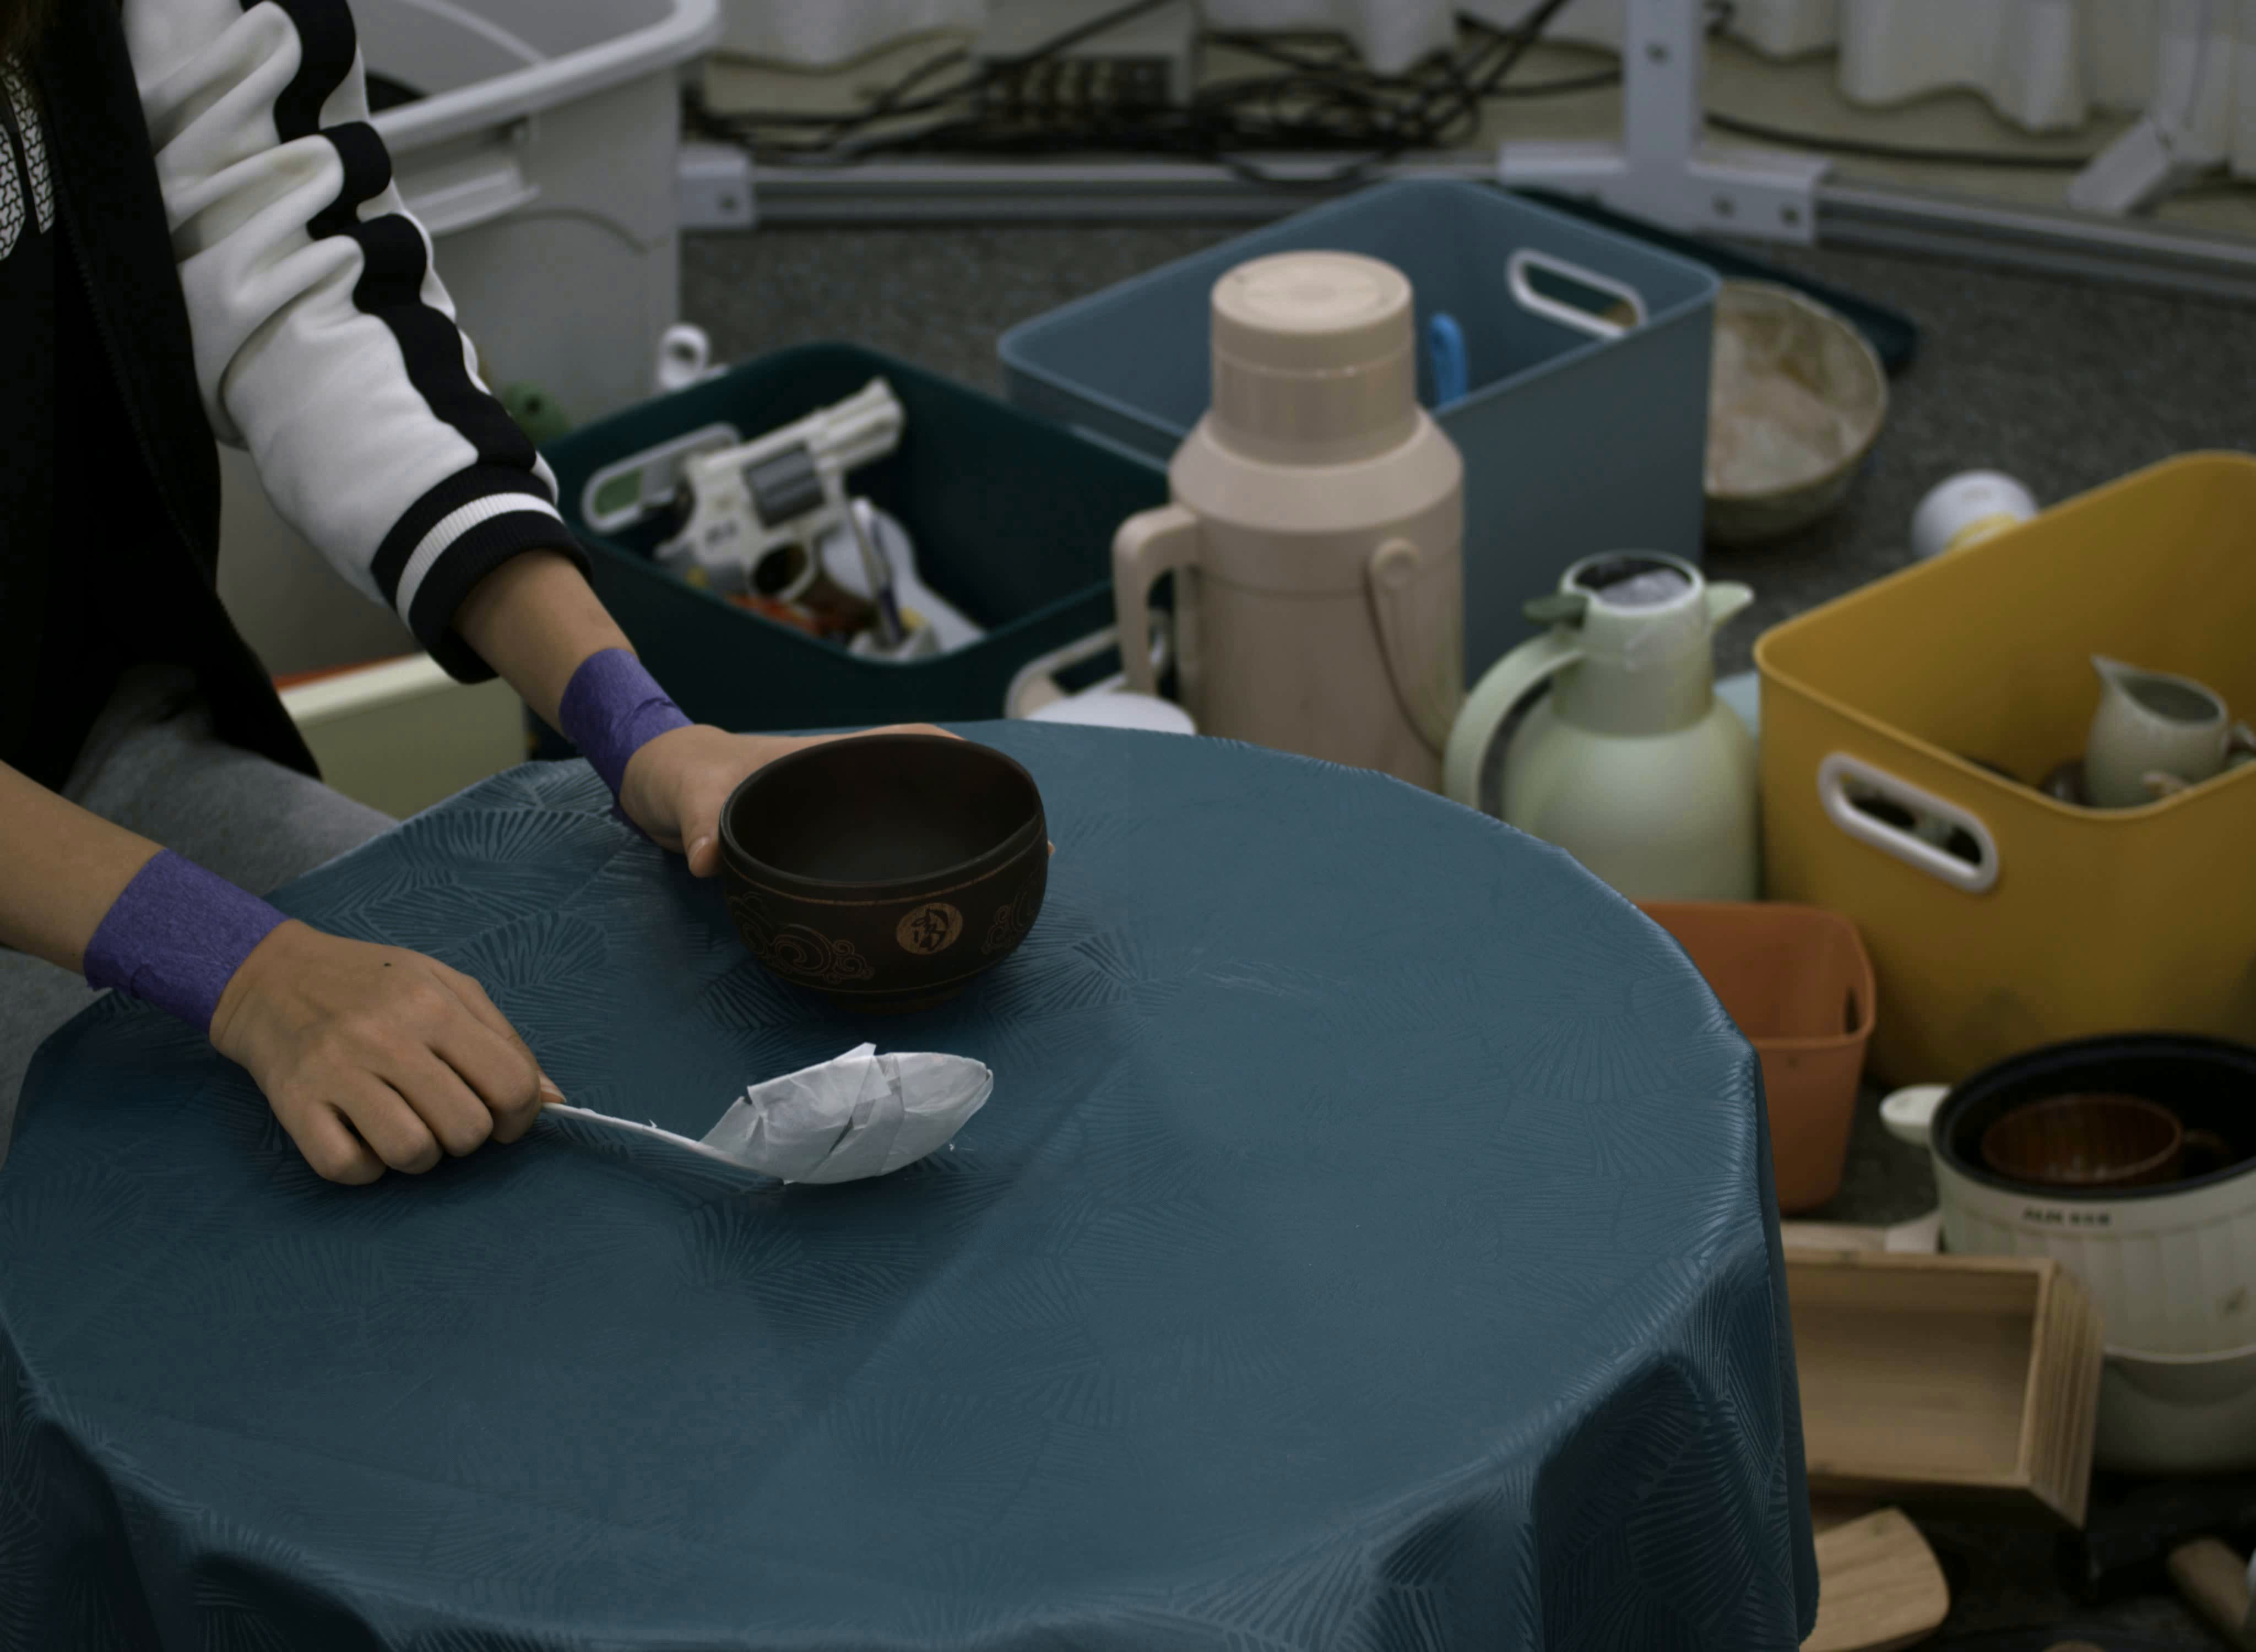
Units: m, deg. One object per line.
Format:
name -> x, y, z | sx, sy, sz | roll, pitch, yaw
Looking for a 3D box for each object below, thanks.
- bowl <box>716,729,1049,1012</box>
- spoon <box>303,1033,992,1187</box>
bowl -> -0.085, 0.022, 1.983 | 0.117, 0.069, 0.120 | -2, 27, 1
spoon -> -0.168, 0.078, 1.906 | 0.276, 0.060, 0.100 | 12, -12, 35
